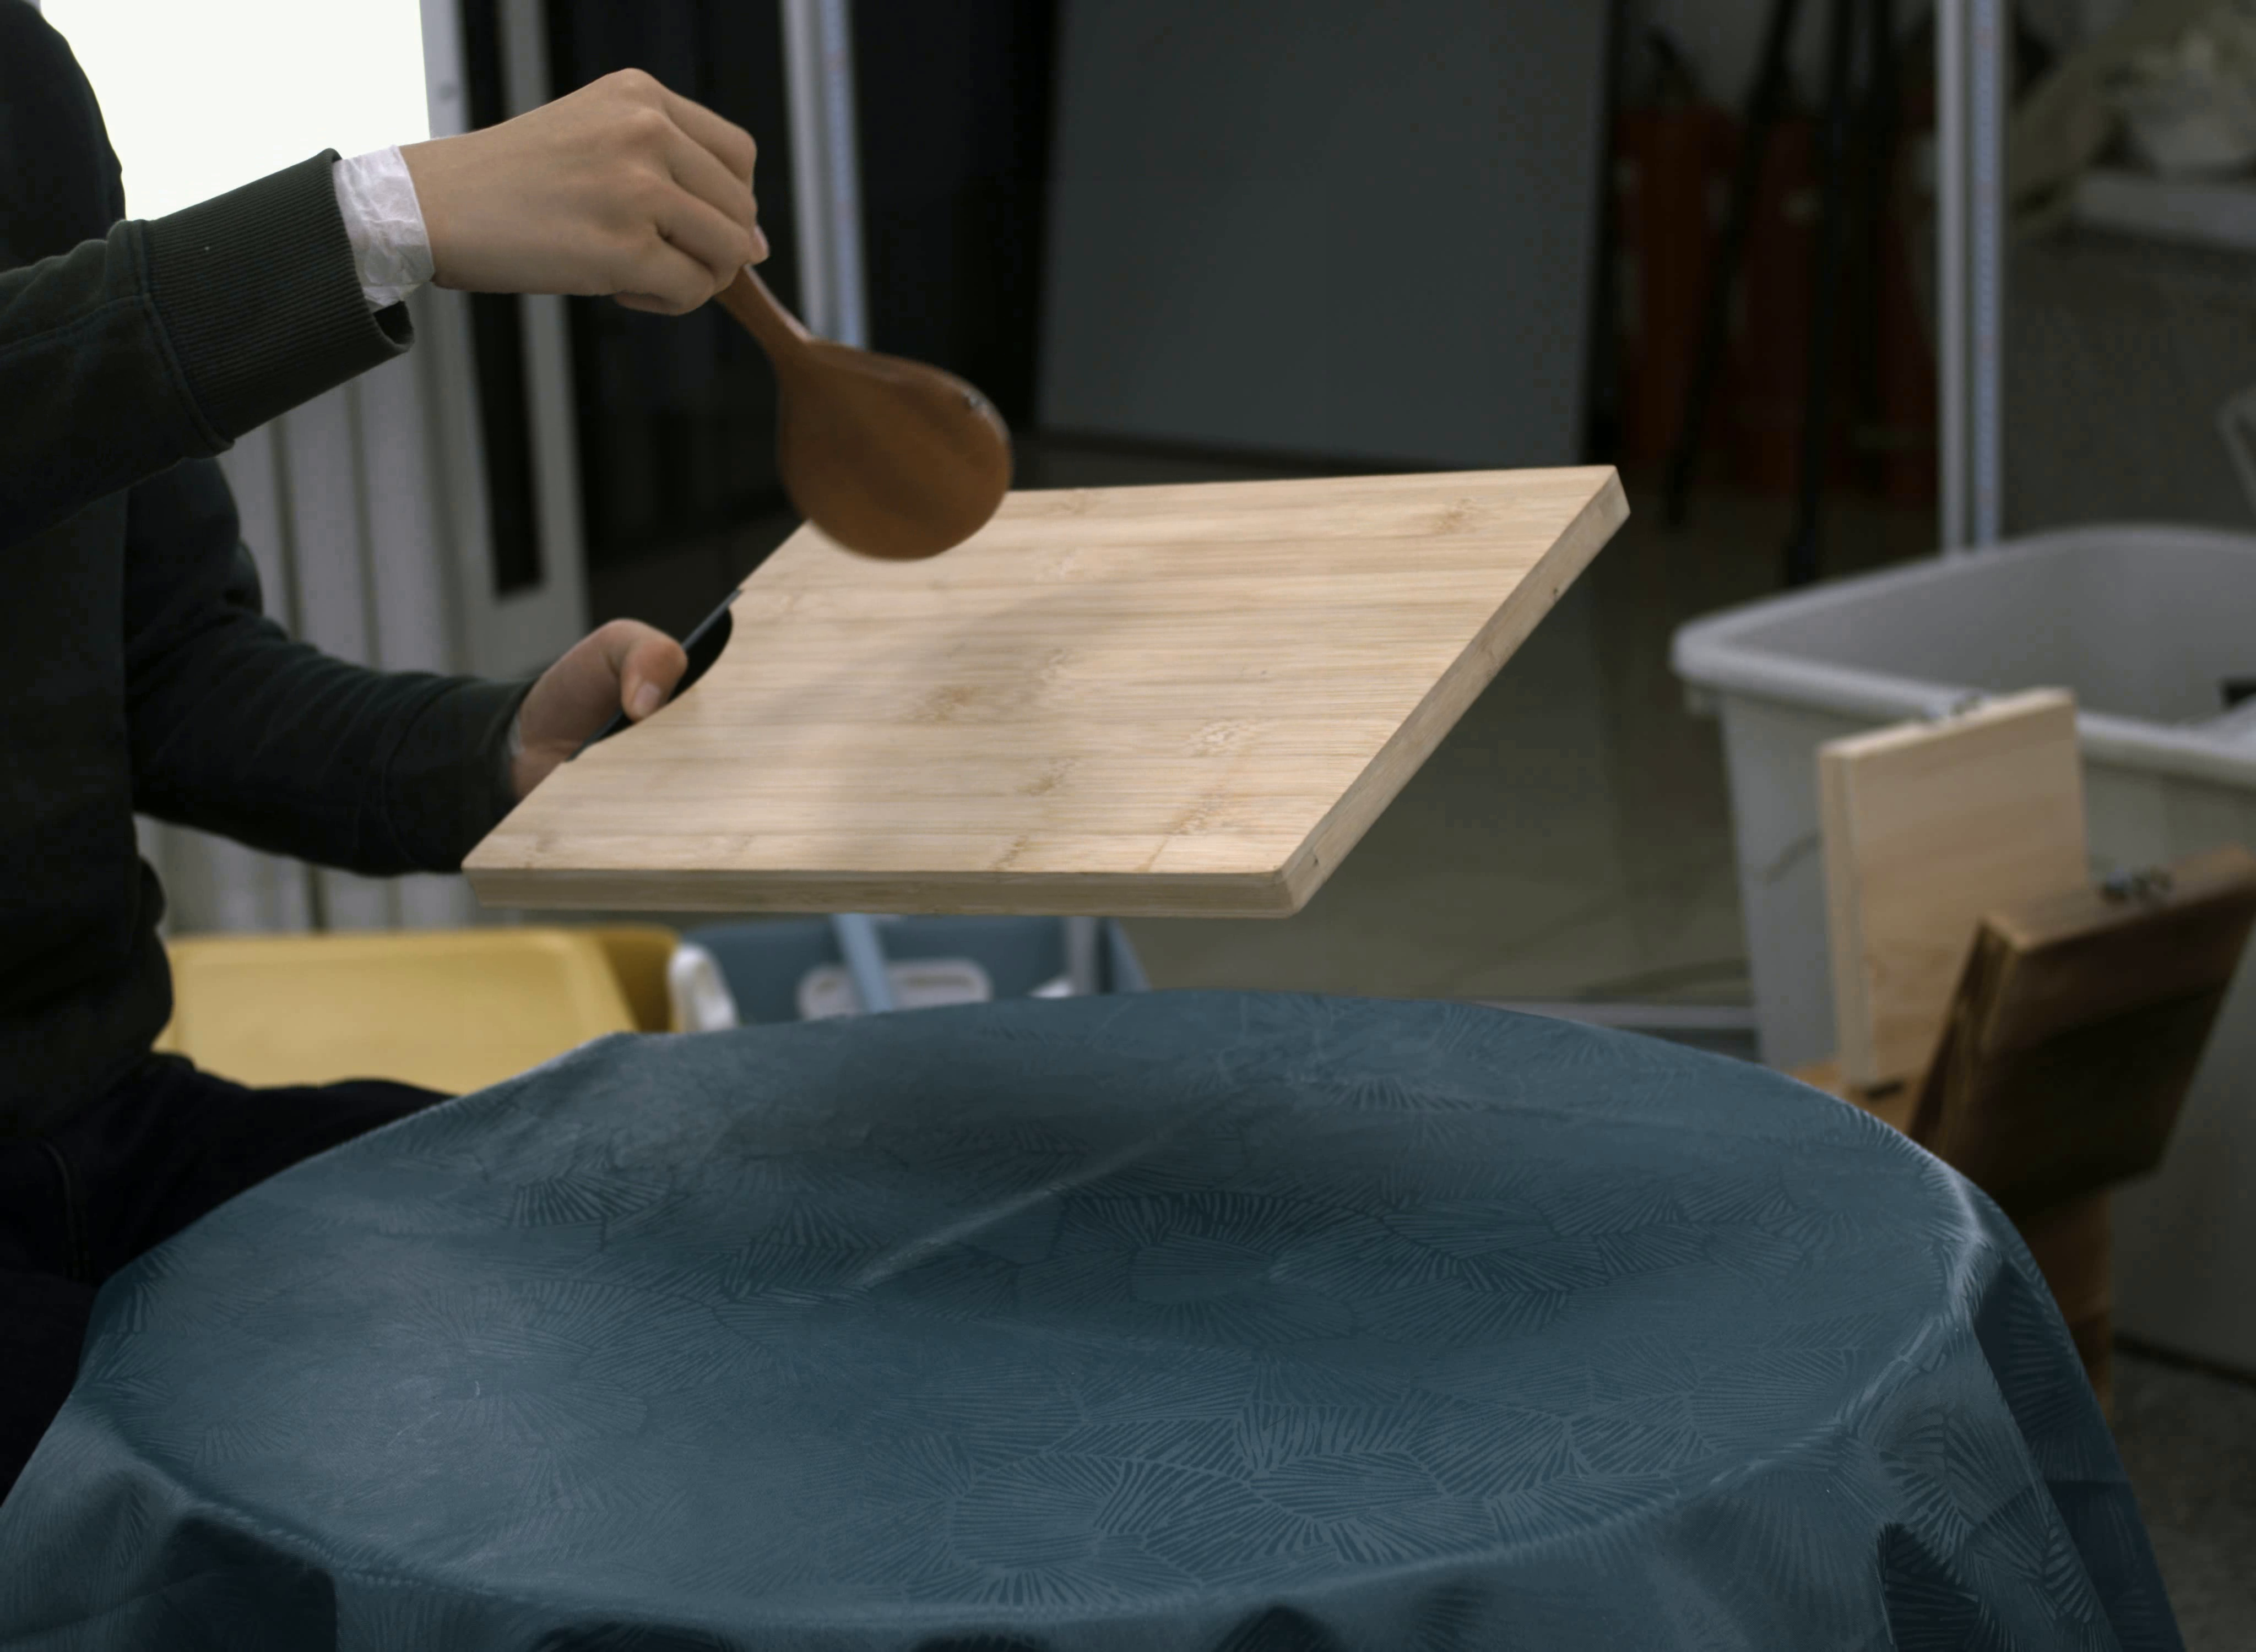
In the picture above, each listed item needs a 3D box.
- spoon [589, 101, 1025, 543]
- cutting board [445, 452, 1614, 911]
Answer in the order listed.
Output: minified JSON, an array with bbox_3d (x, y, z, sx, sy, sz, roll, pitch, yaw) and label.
[{"bbox_3d":[-0.107,-0.160,1.759,0.075,0.213,0.017,-28,42,17],"label":"spoon"},{"bbox_3d":[-0.034,-0.046,1.801,0.351,0.023,0.248,-2,33,37],"label":"cutting board"}]
